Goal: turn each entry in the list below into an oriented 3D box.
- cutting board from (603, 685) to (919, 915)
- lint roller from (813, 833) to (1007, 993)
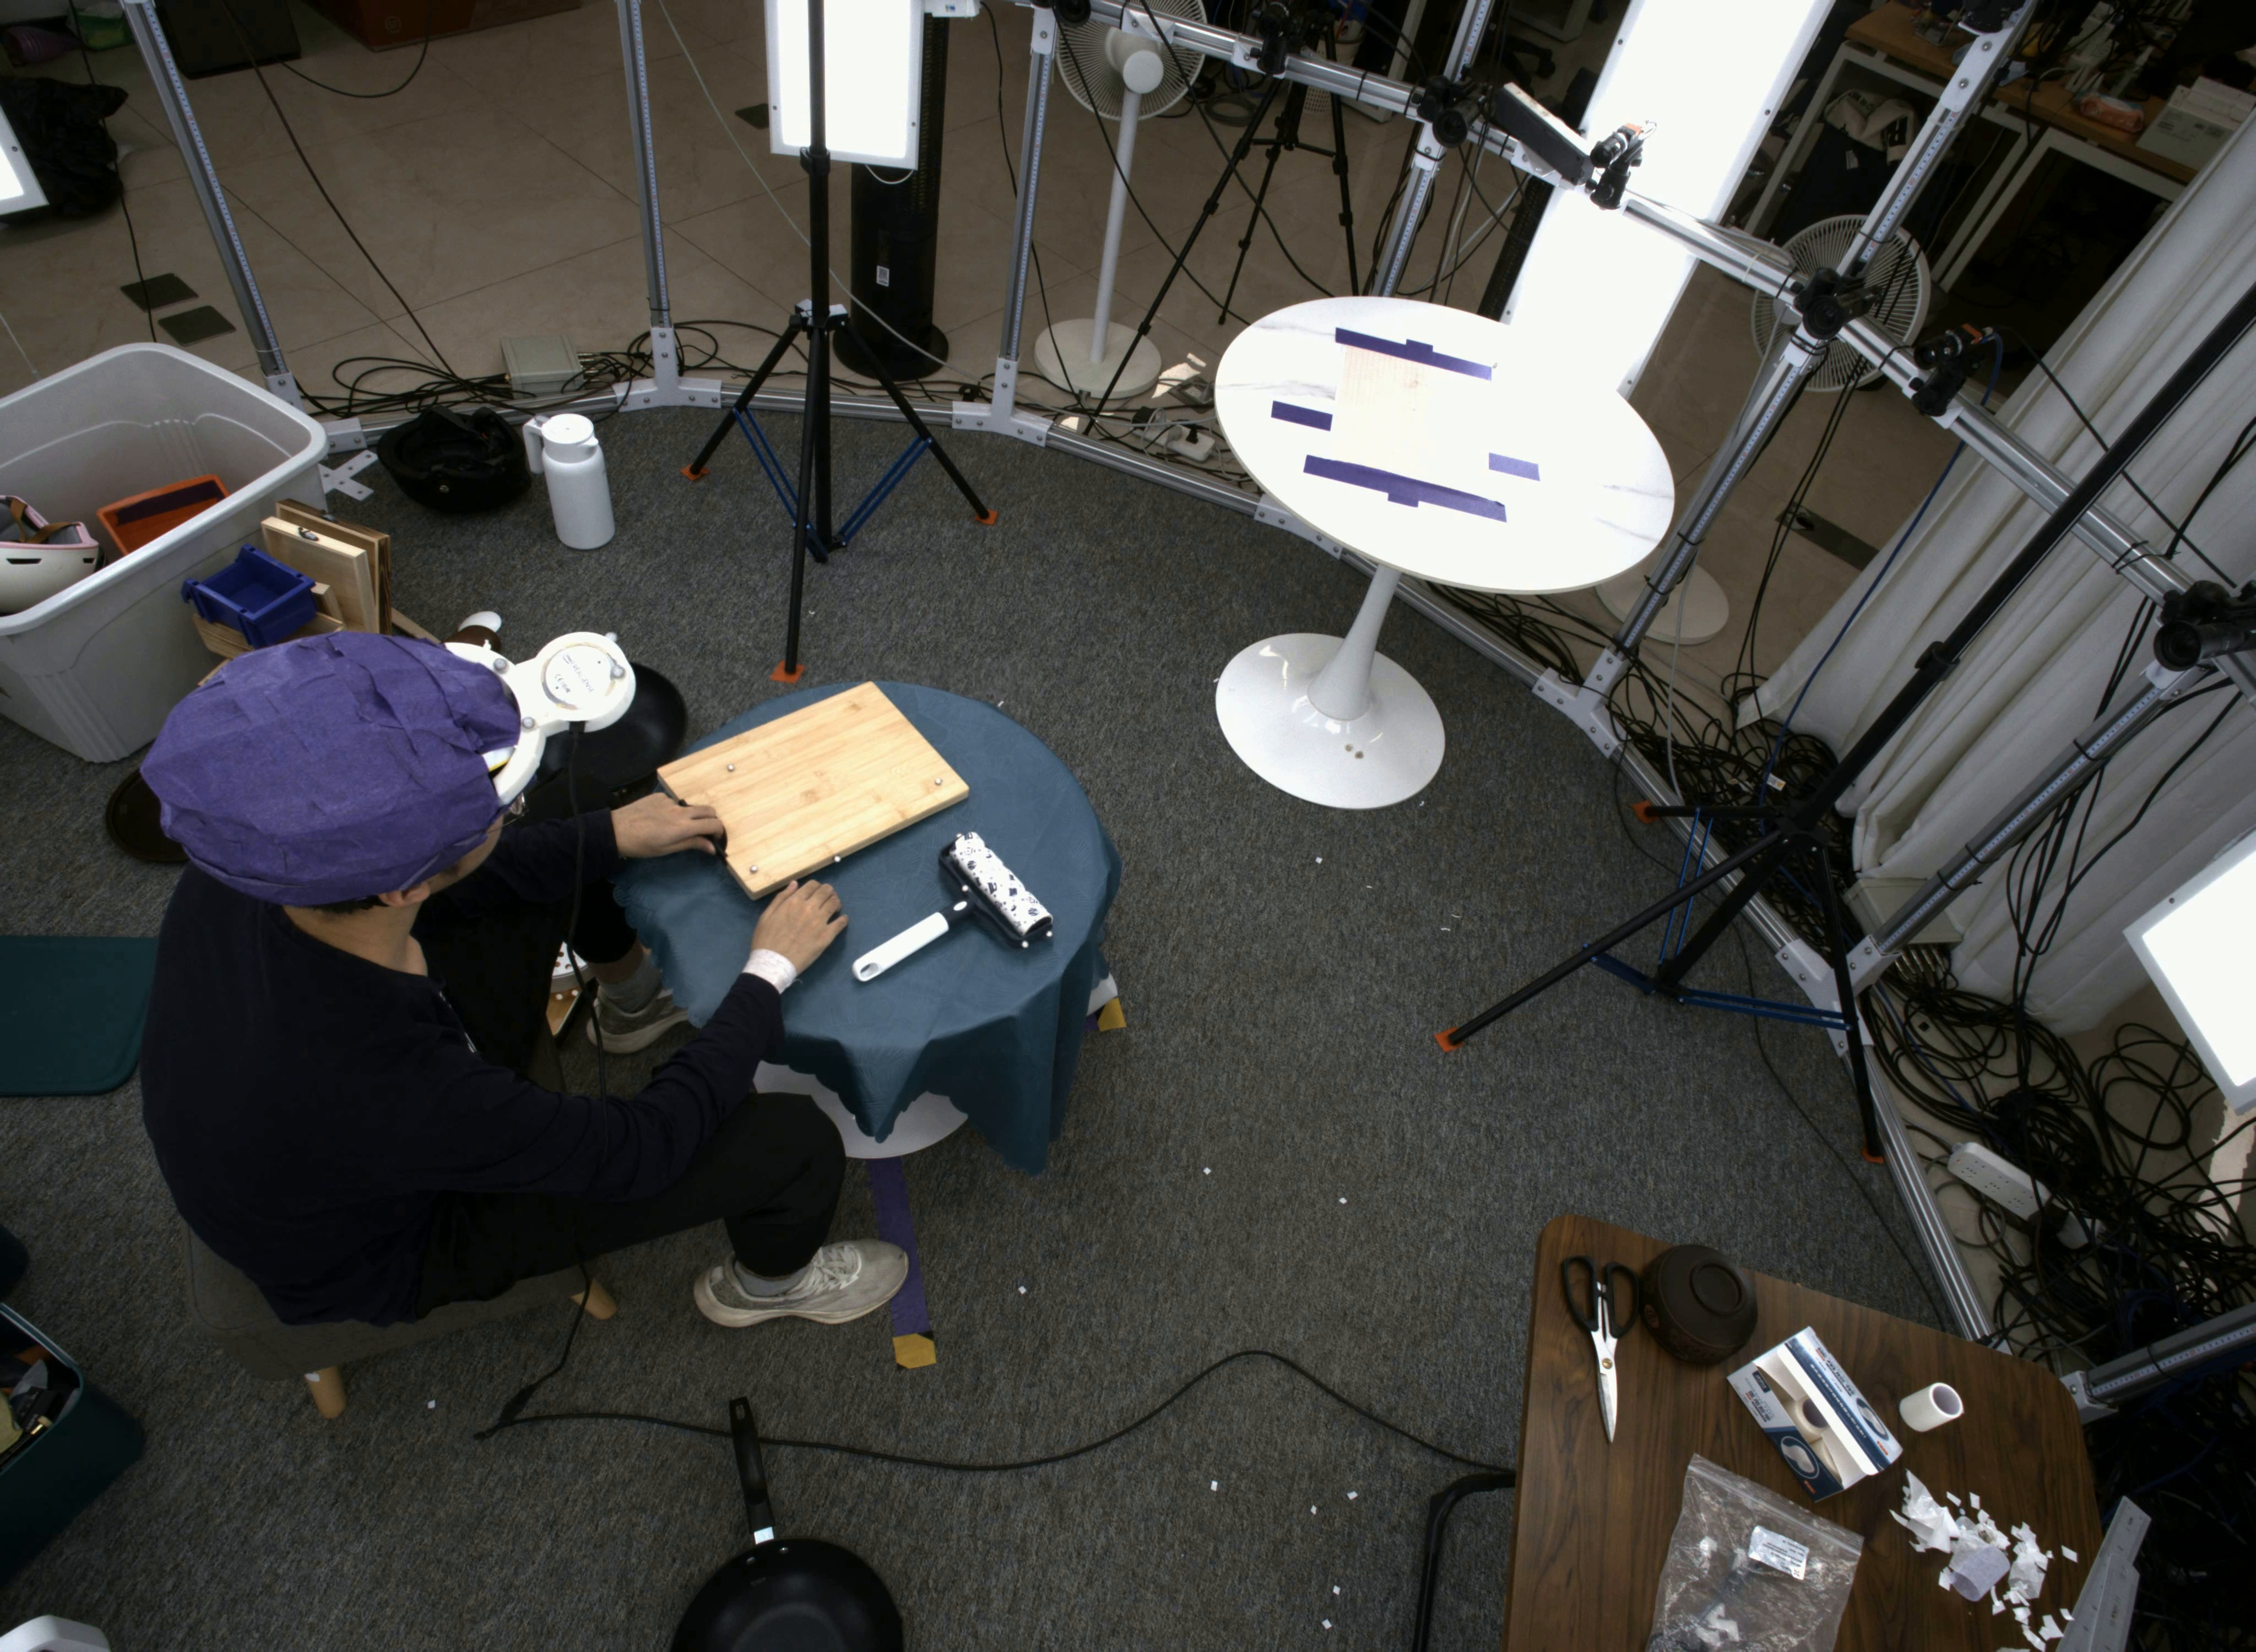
[{"bbox_3d":[-0.487,-0.046,1.730,0.245,0.024,0.350,43,52,19],"label":"cutting board"},{"bbox_3d":[-0.295,0.128,1.647,0.172,0.051,0.247,43,58,17],"label":"lint roller"}]
